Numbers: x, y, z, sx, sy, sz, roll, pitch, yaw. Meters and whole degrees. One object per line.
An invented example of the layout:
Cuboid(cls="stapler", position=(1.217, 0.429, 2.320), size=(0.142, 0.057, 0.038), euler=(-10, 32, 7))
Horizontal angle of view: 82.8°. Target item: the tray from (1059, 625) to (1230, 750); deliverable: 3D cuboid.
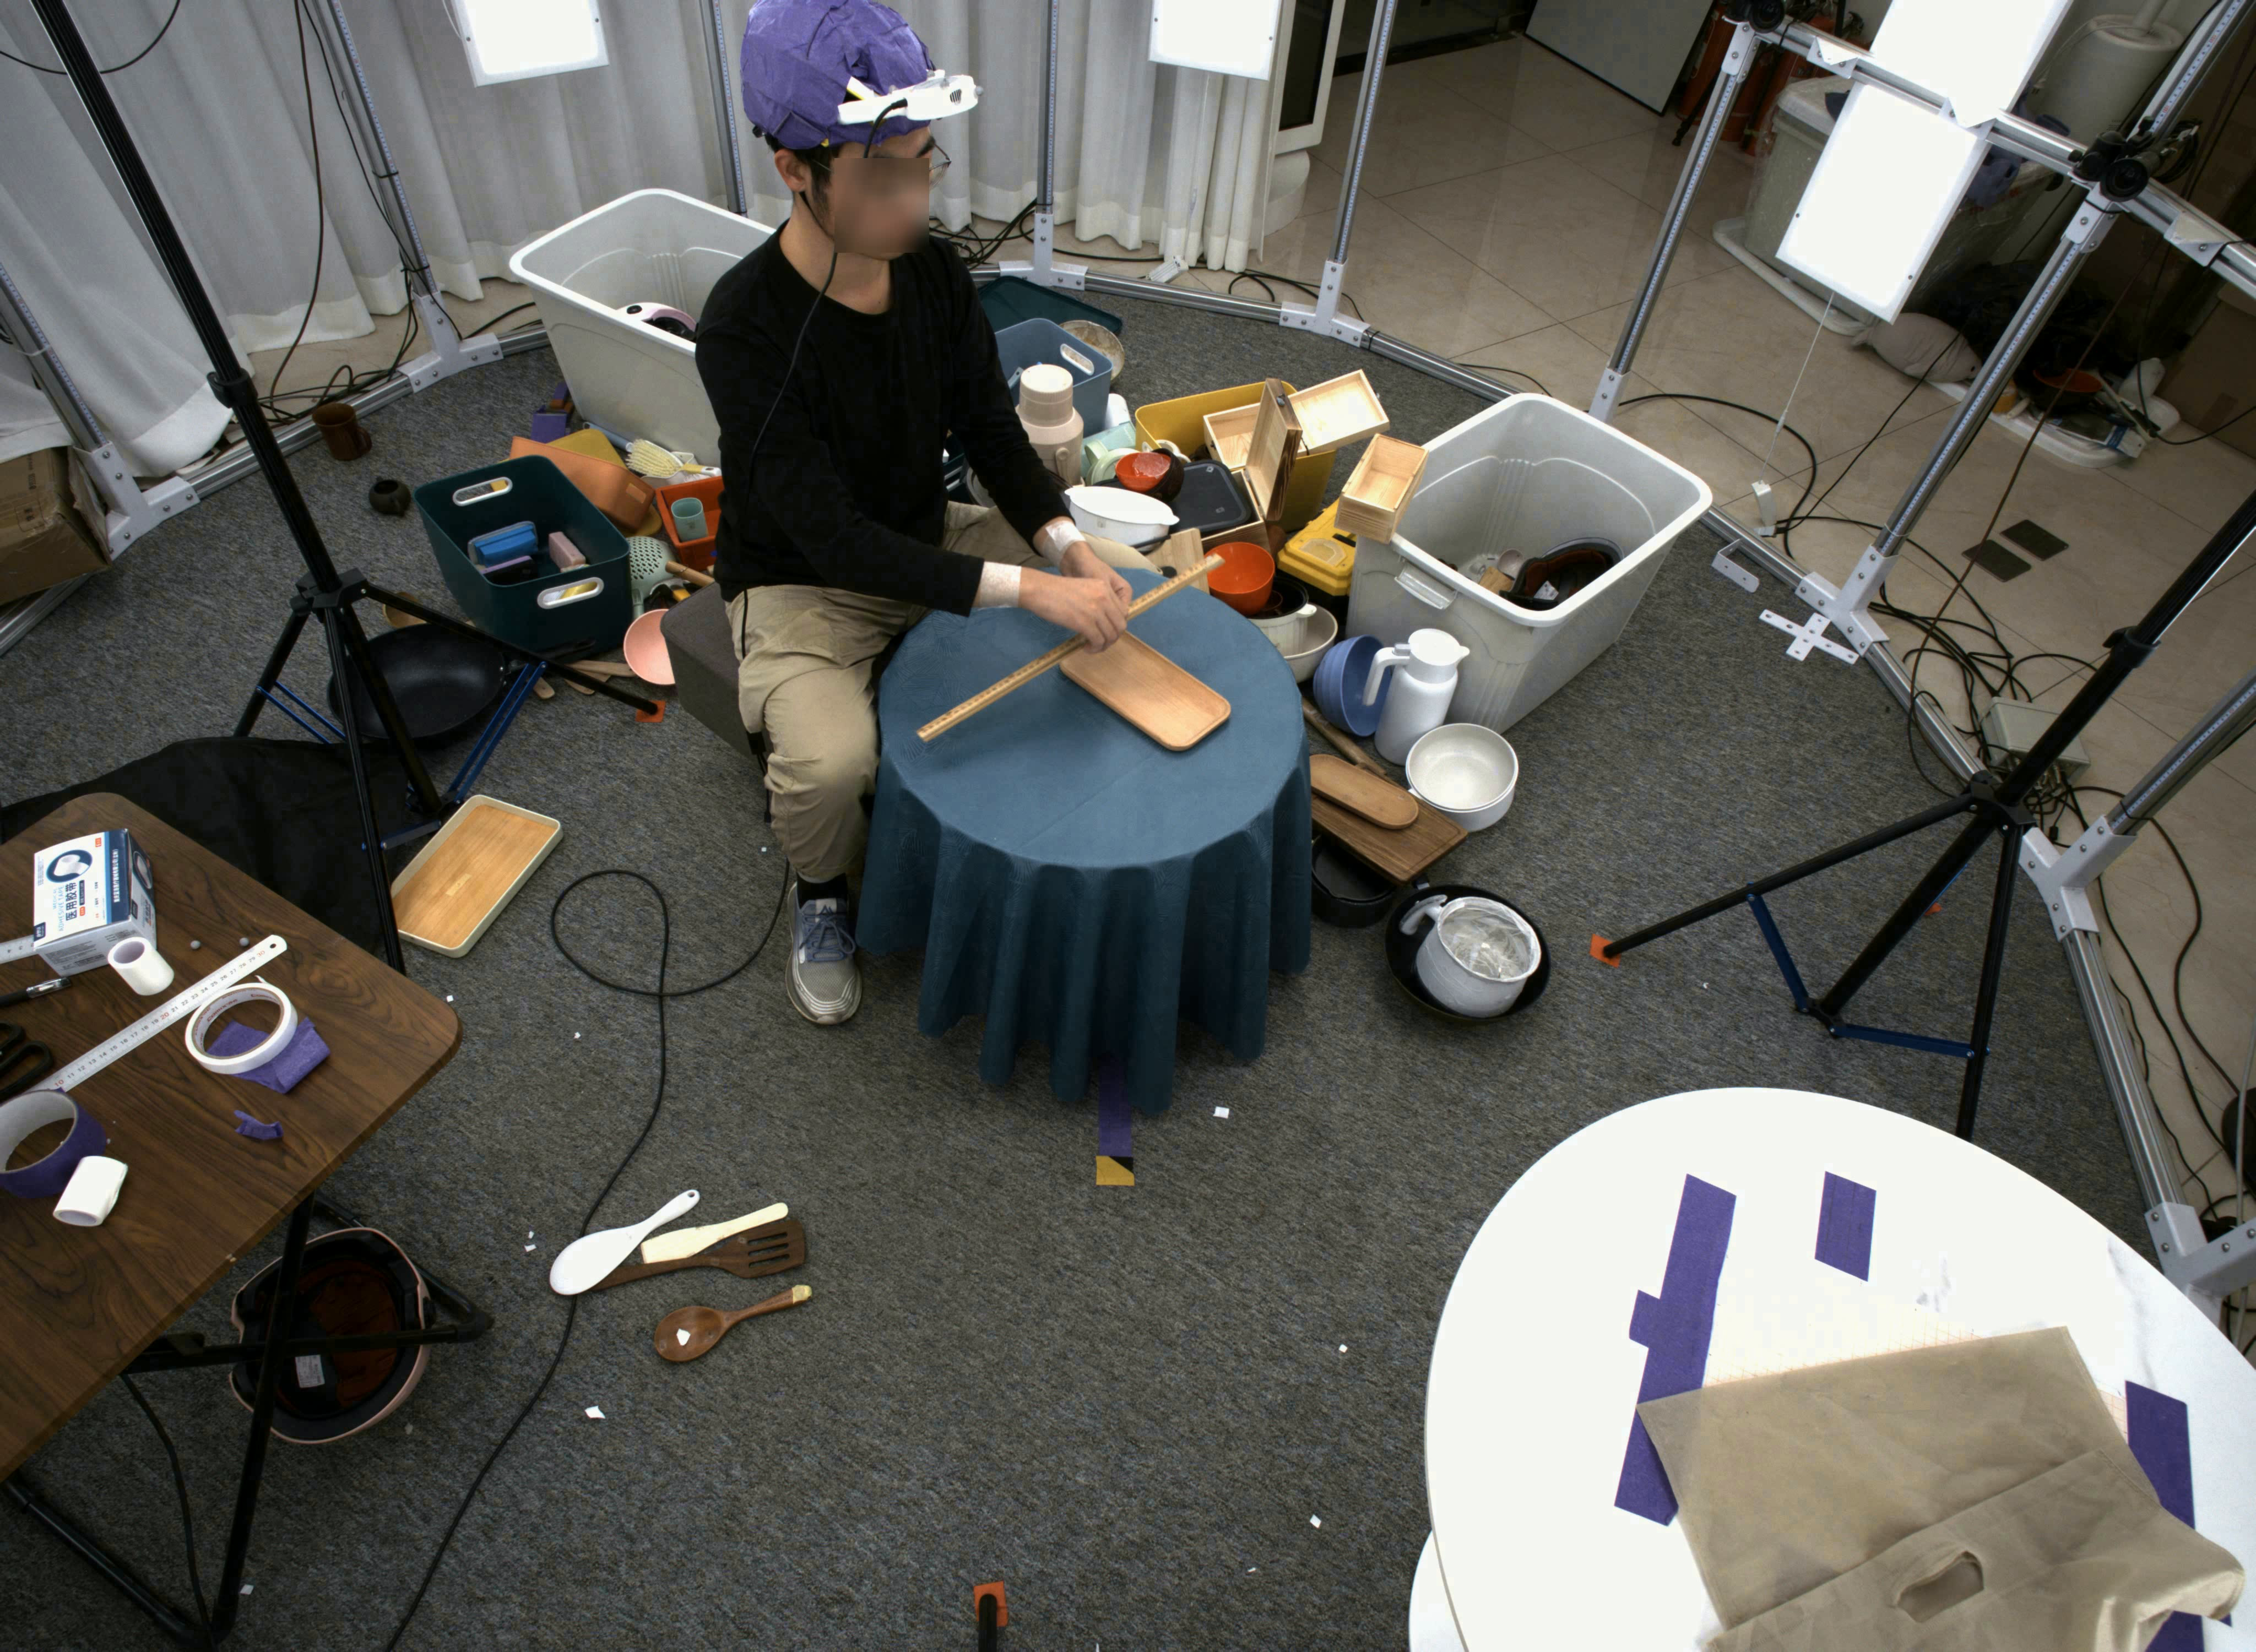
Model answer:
Cuboid(cls="tray", position=(0.022, -0.201, 1.835), size=(0.132, 0.022, 0.254), euler=(-34, 58, -31))

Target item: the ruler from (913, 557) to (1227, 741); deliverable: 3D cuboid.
Cuboid(cls="ruler", position=(-0.073, -0.248, 1.763), size=(0.502, 0.006, 0.027), euler=(-32, 48, -14))
